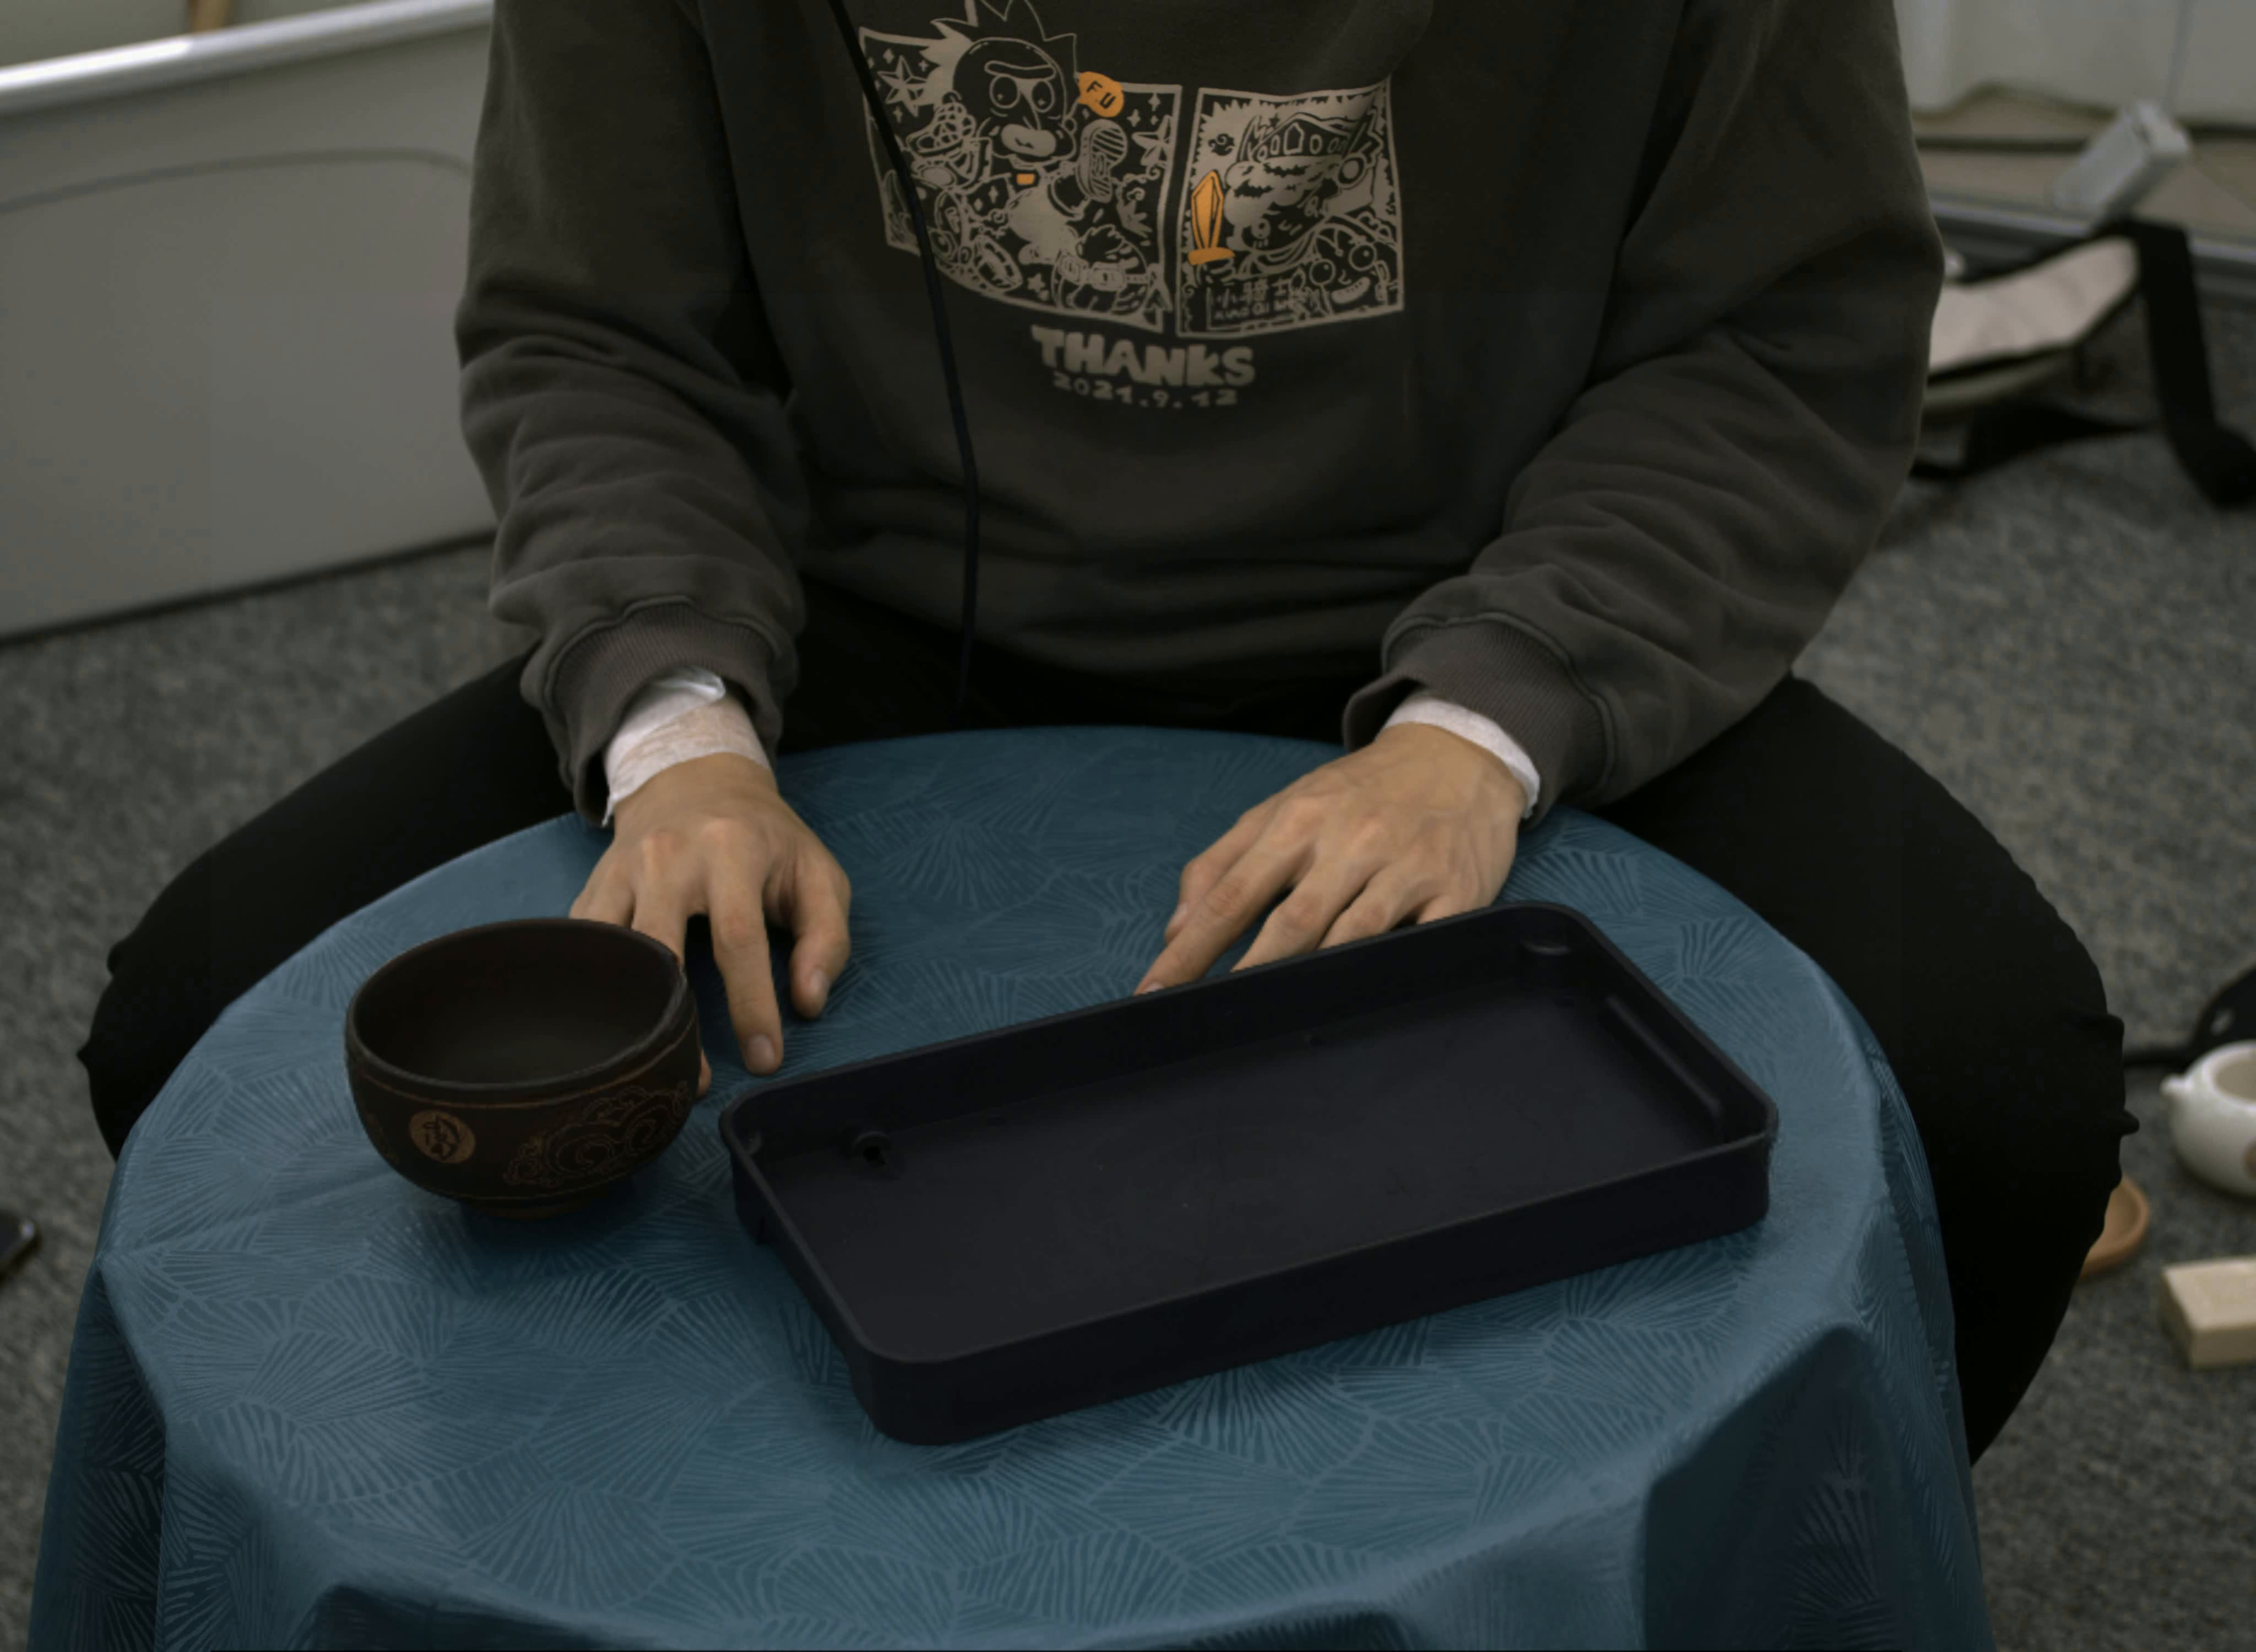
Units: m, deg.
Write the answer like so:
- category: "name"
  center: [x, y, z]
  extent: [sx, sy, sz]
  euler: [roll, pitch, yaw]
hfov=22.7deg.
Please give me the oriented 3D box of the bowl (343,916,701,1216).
- category: "bowl"
  center: [-0.200, 0.087, 1.870]
  extent: [0.117, 0.069, 0.120]
  euler: [-2, 26, 1]

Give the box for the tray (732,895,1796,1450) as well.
- category: "tray"
  center: [0.044, 0.109, 1.843]
  extent: [0.319, 0.036, 0.185]
  euler: [-14, 29, -20]
